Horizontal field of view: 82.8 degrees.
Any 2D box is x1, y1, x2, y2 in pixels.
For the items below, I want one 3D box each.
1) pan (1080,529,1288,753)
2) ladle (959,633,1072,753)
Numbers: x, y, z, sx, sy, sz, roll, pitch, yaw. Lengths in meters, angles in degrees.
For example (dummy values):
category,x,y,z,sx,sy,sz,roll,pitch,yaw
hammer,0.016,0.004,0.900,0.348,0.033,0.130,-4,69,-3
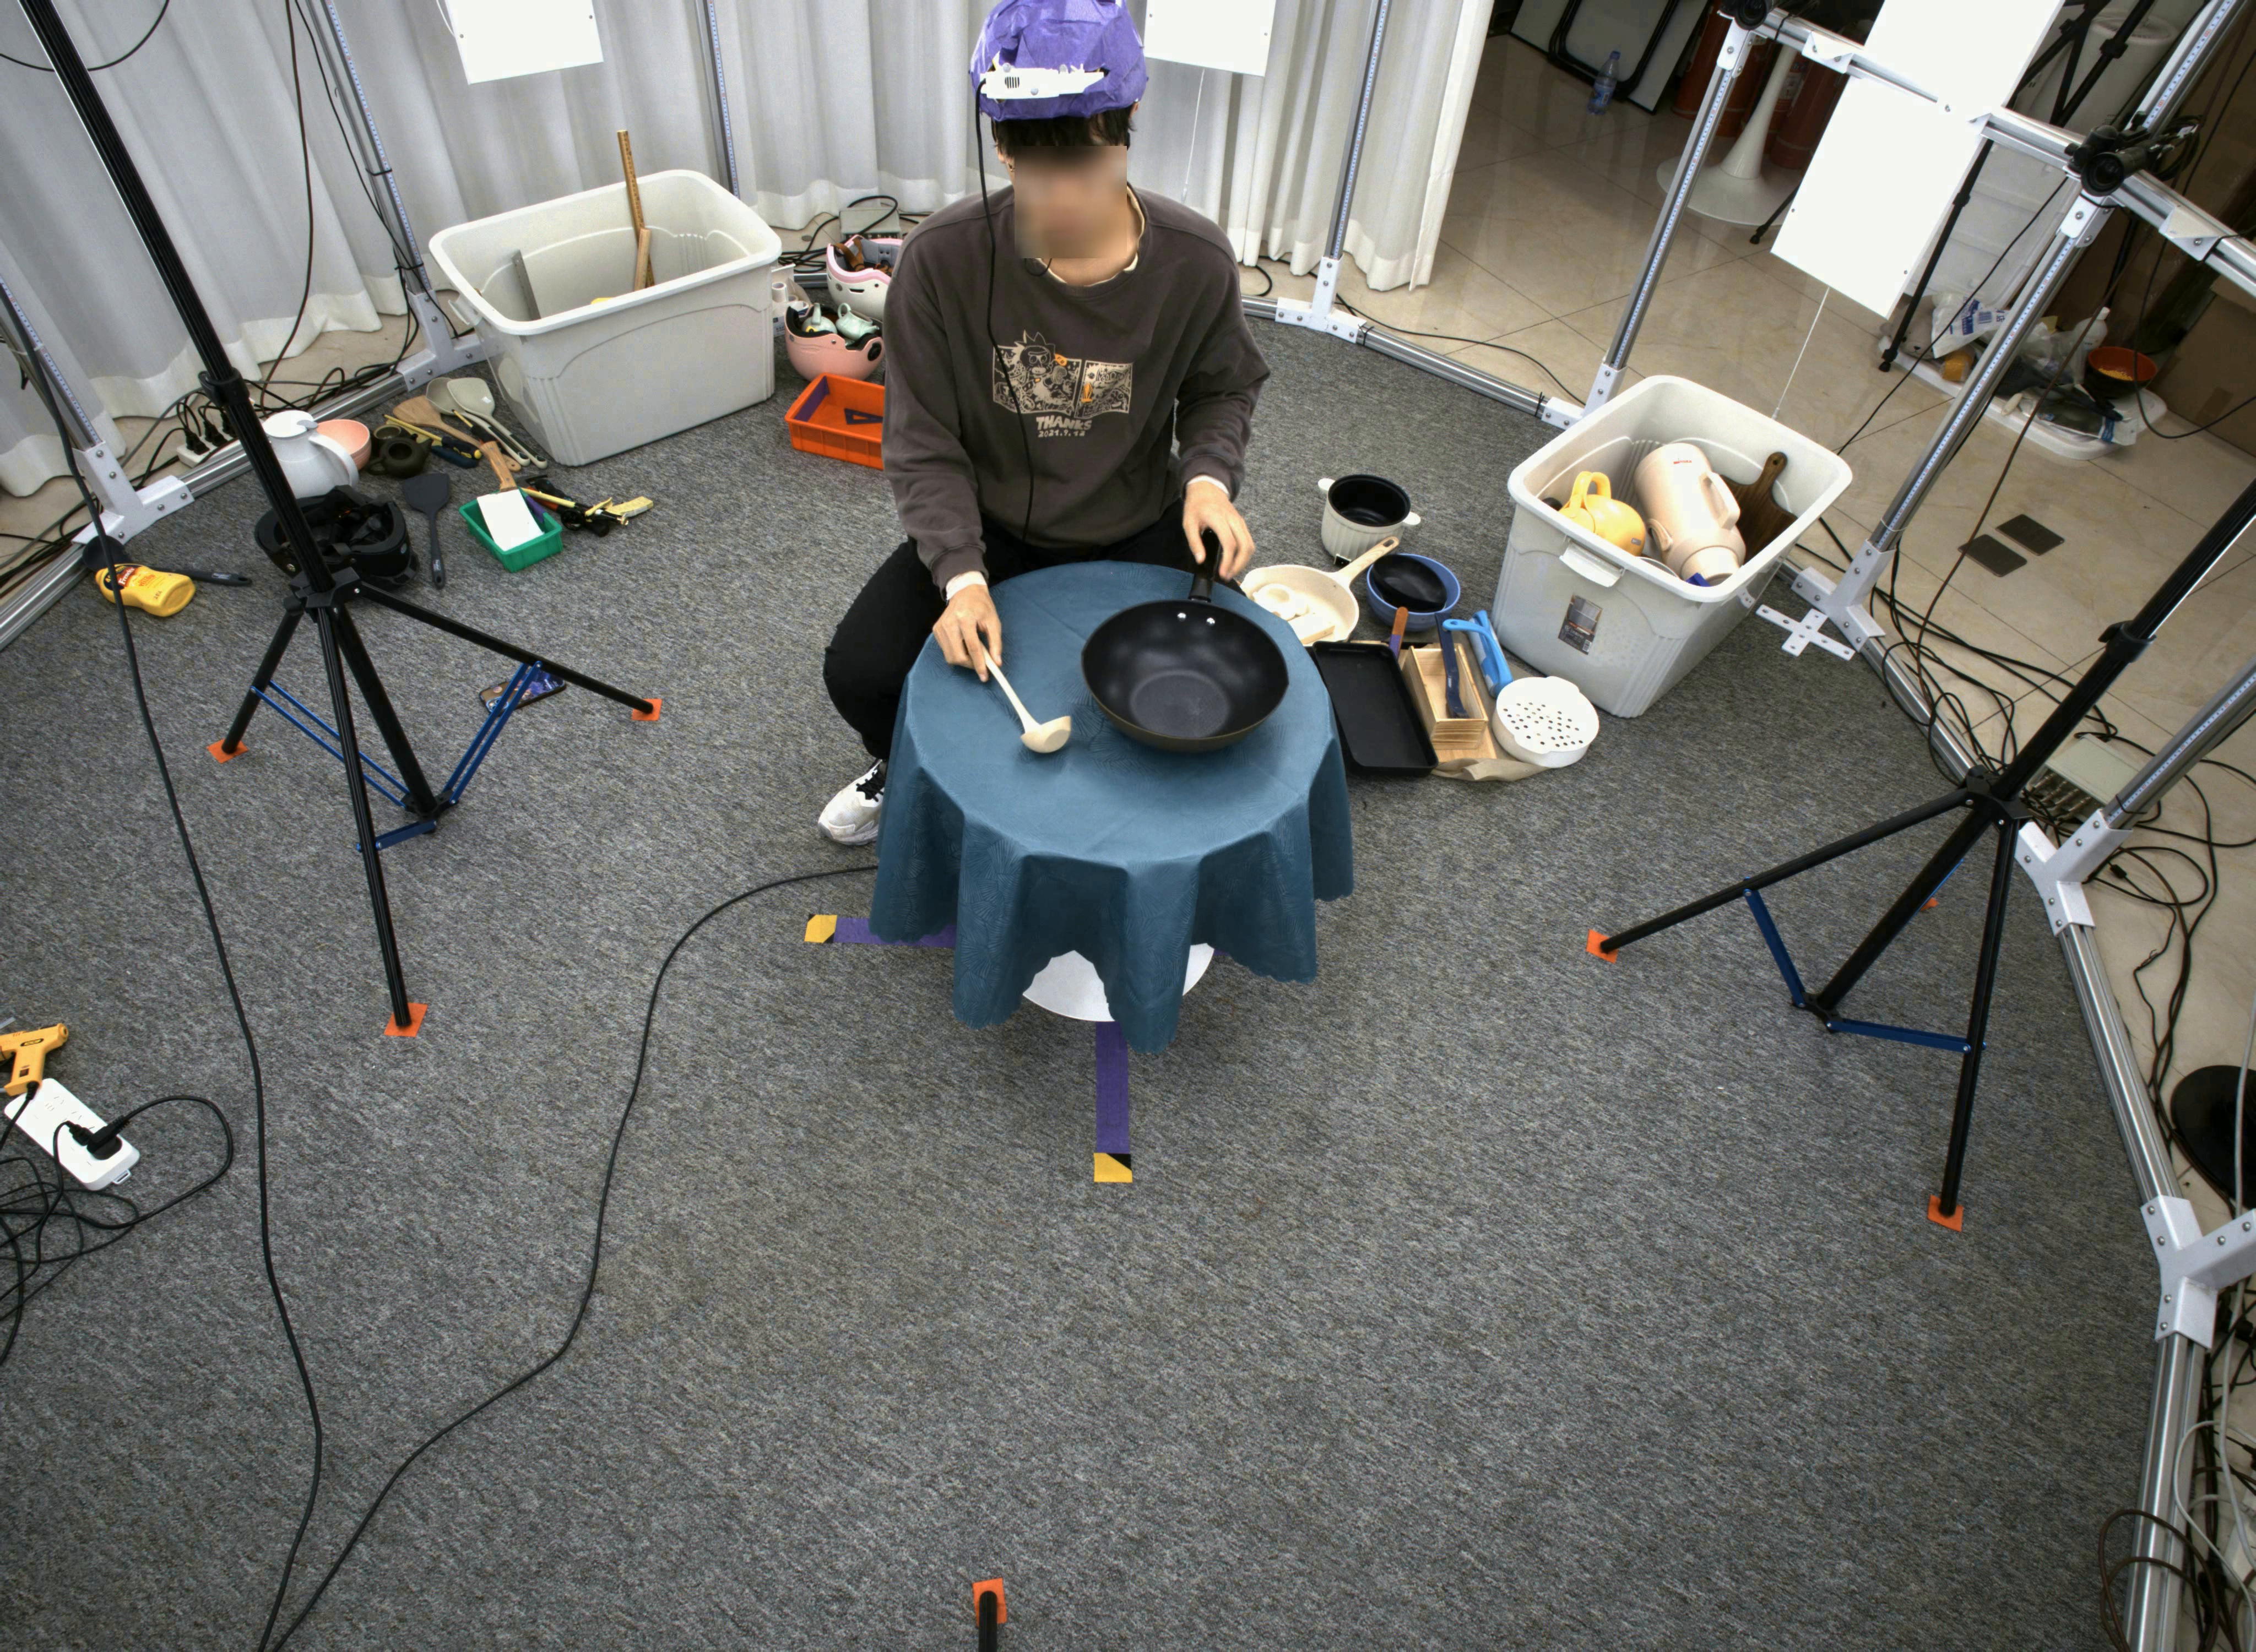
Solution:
category,x,y,z,sx,sy,sz,roll,pitch,yaw
pan,0.091,-0.263,1.847,0.288,0.085,0.474,9,48,5
ladle,-0.164,-0.204,1.771,0.072,0.071,0.259,-25,62,-23
